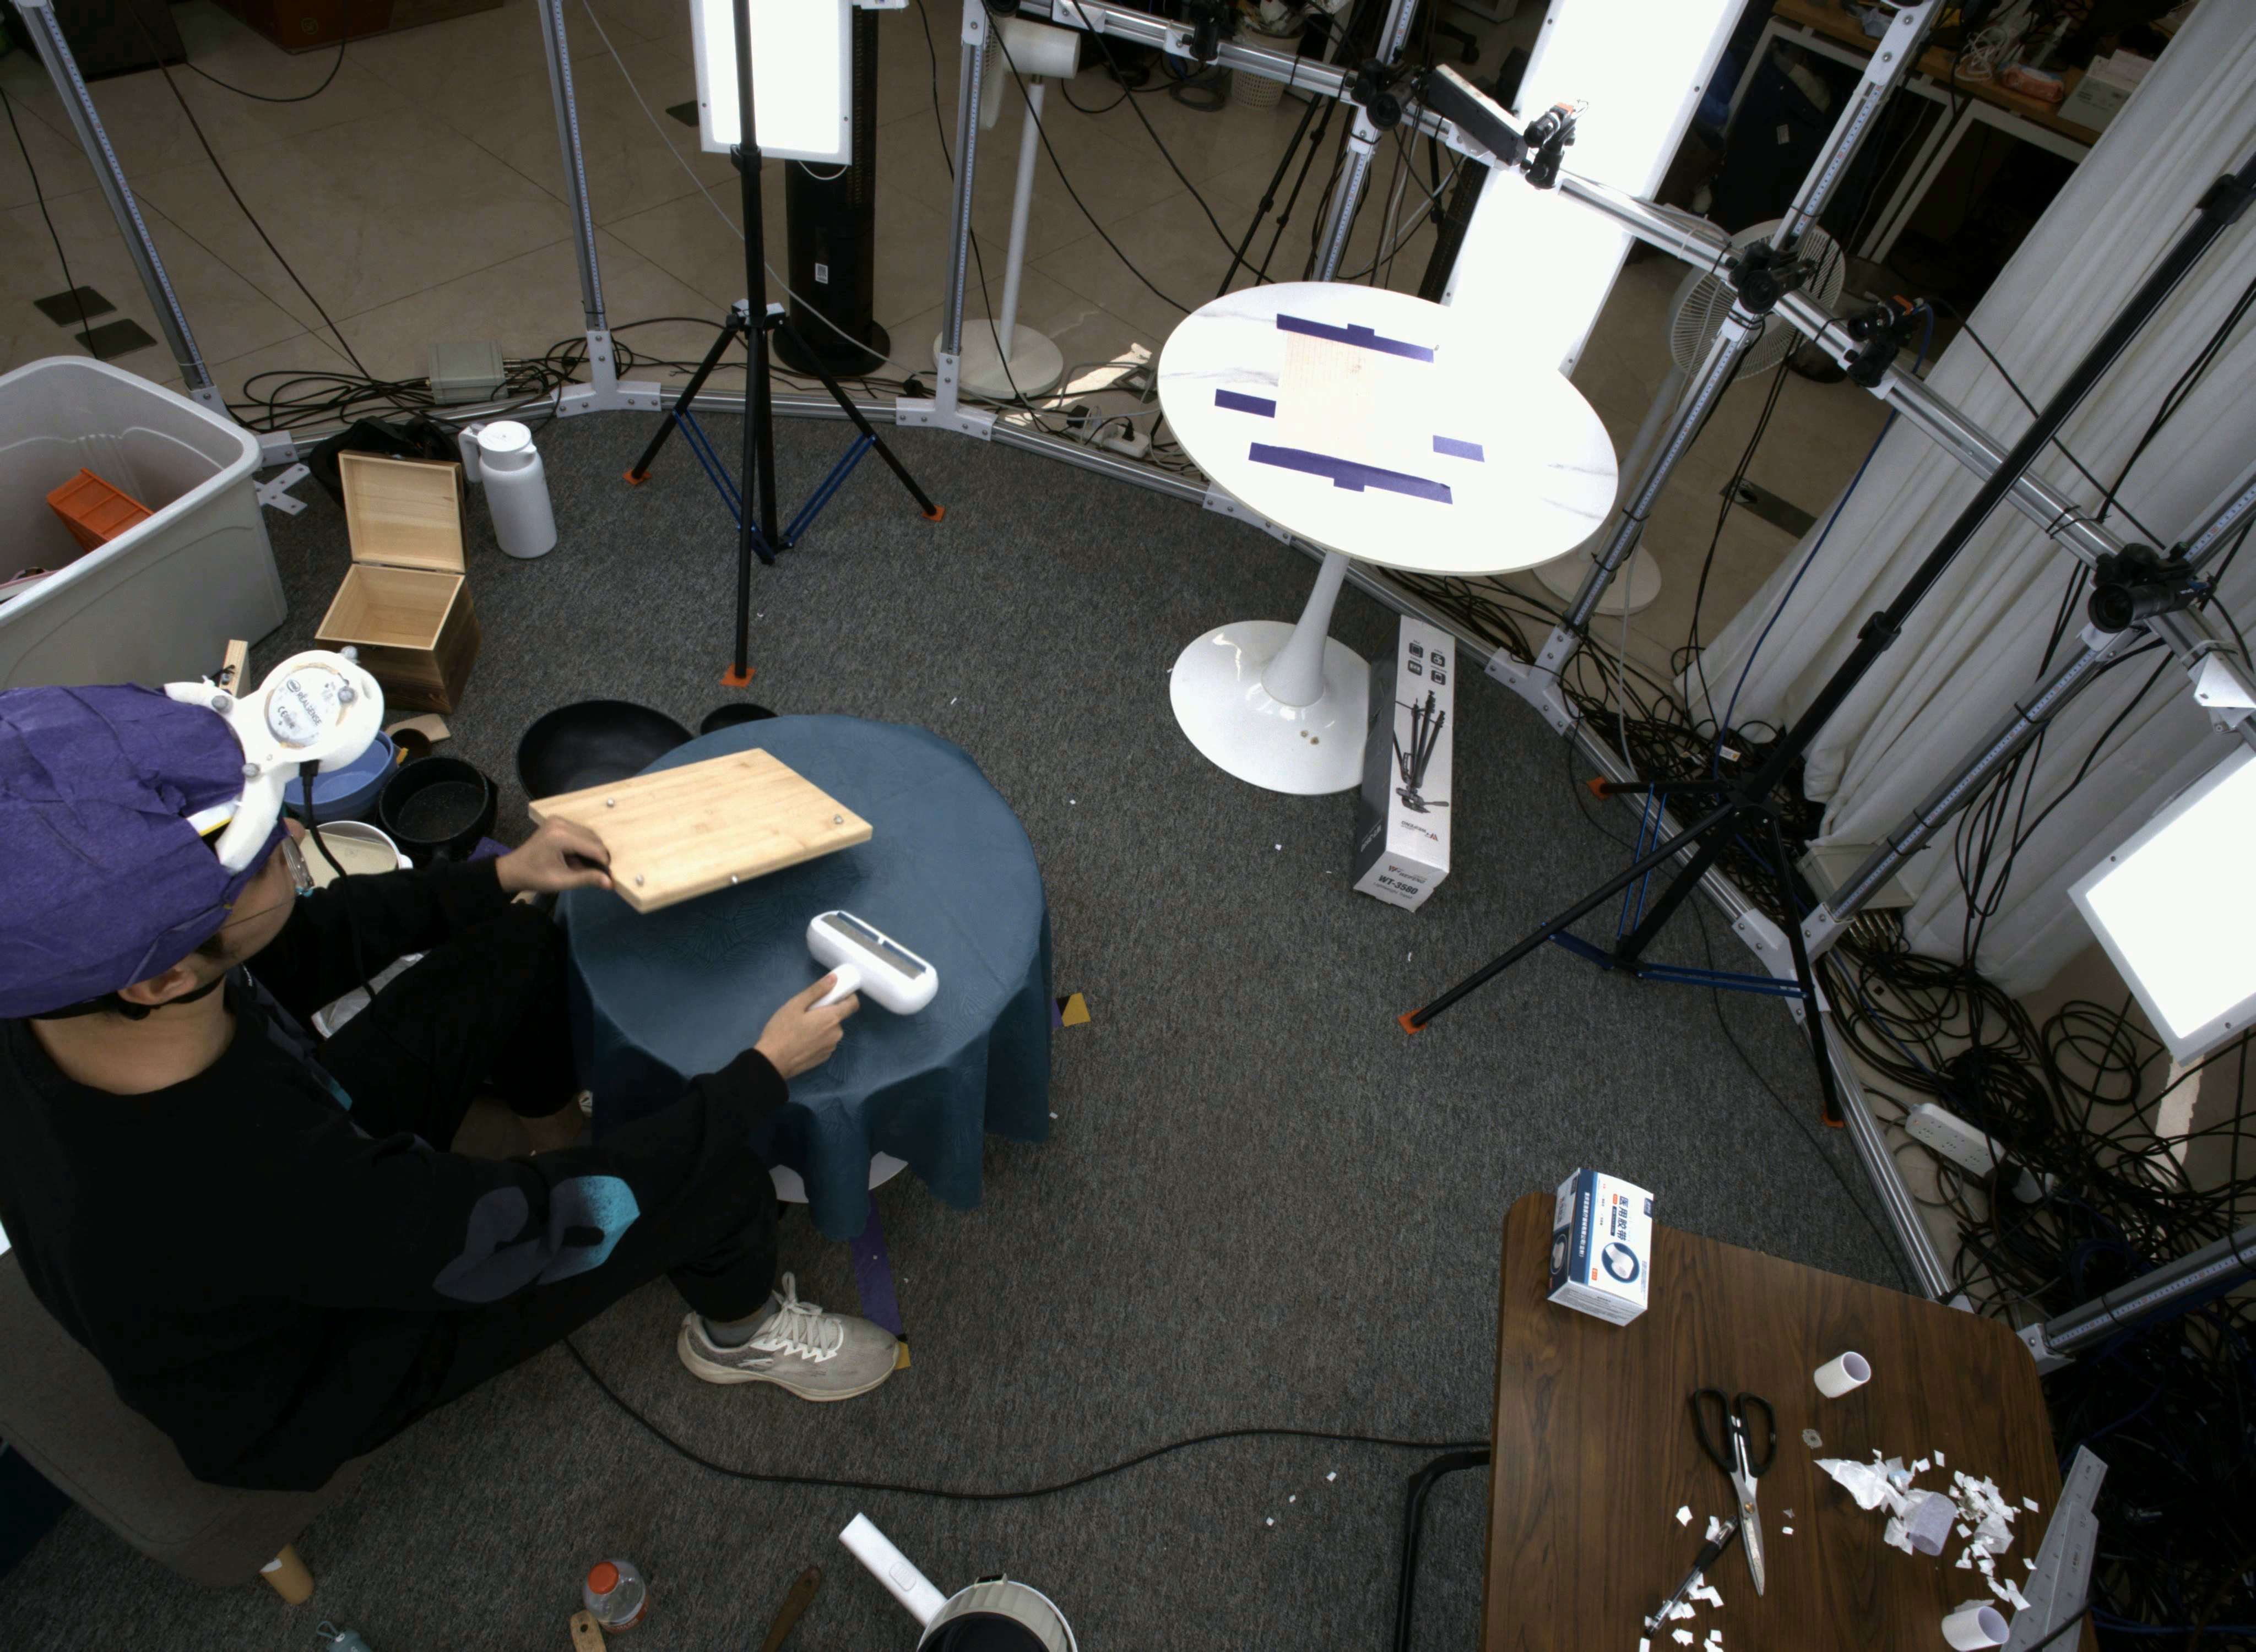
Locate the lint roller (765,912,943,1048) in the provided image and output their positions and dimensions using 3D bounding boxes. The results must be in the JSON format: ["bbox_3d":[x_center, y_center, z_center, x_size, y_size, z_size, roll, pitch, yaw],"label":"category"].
[{"bbox_3d":[-0.344,0.190,1.532,0.186,0.076,0.193,33,42,28],"label":"lint roller"}]

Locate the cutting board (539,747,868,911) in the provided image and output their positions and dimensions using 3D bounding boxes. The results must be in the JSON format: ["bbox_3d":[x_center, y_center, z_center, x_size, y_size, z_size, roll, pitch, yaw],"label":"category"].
[{"bbox_3d":[-0.527,-0.008,1.590,0.242,0.024,0.352,31,31,27],"label":"cutting board"}]
